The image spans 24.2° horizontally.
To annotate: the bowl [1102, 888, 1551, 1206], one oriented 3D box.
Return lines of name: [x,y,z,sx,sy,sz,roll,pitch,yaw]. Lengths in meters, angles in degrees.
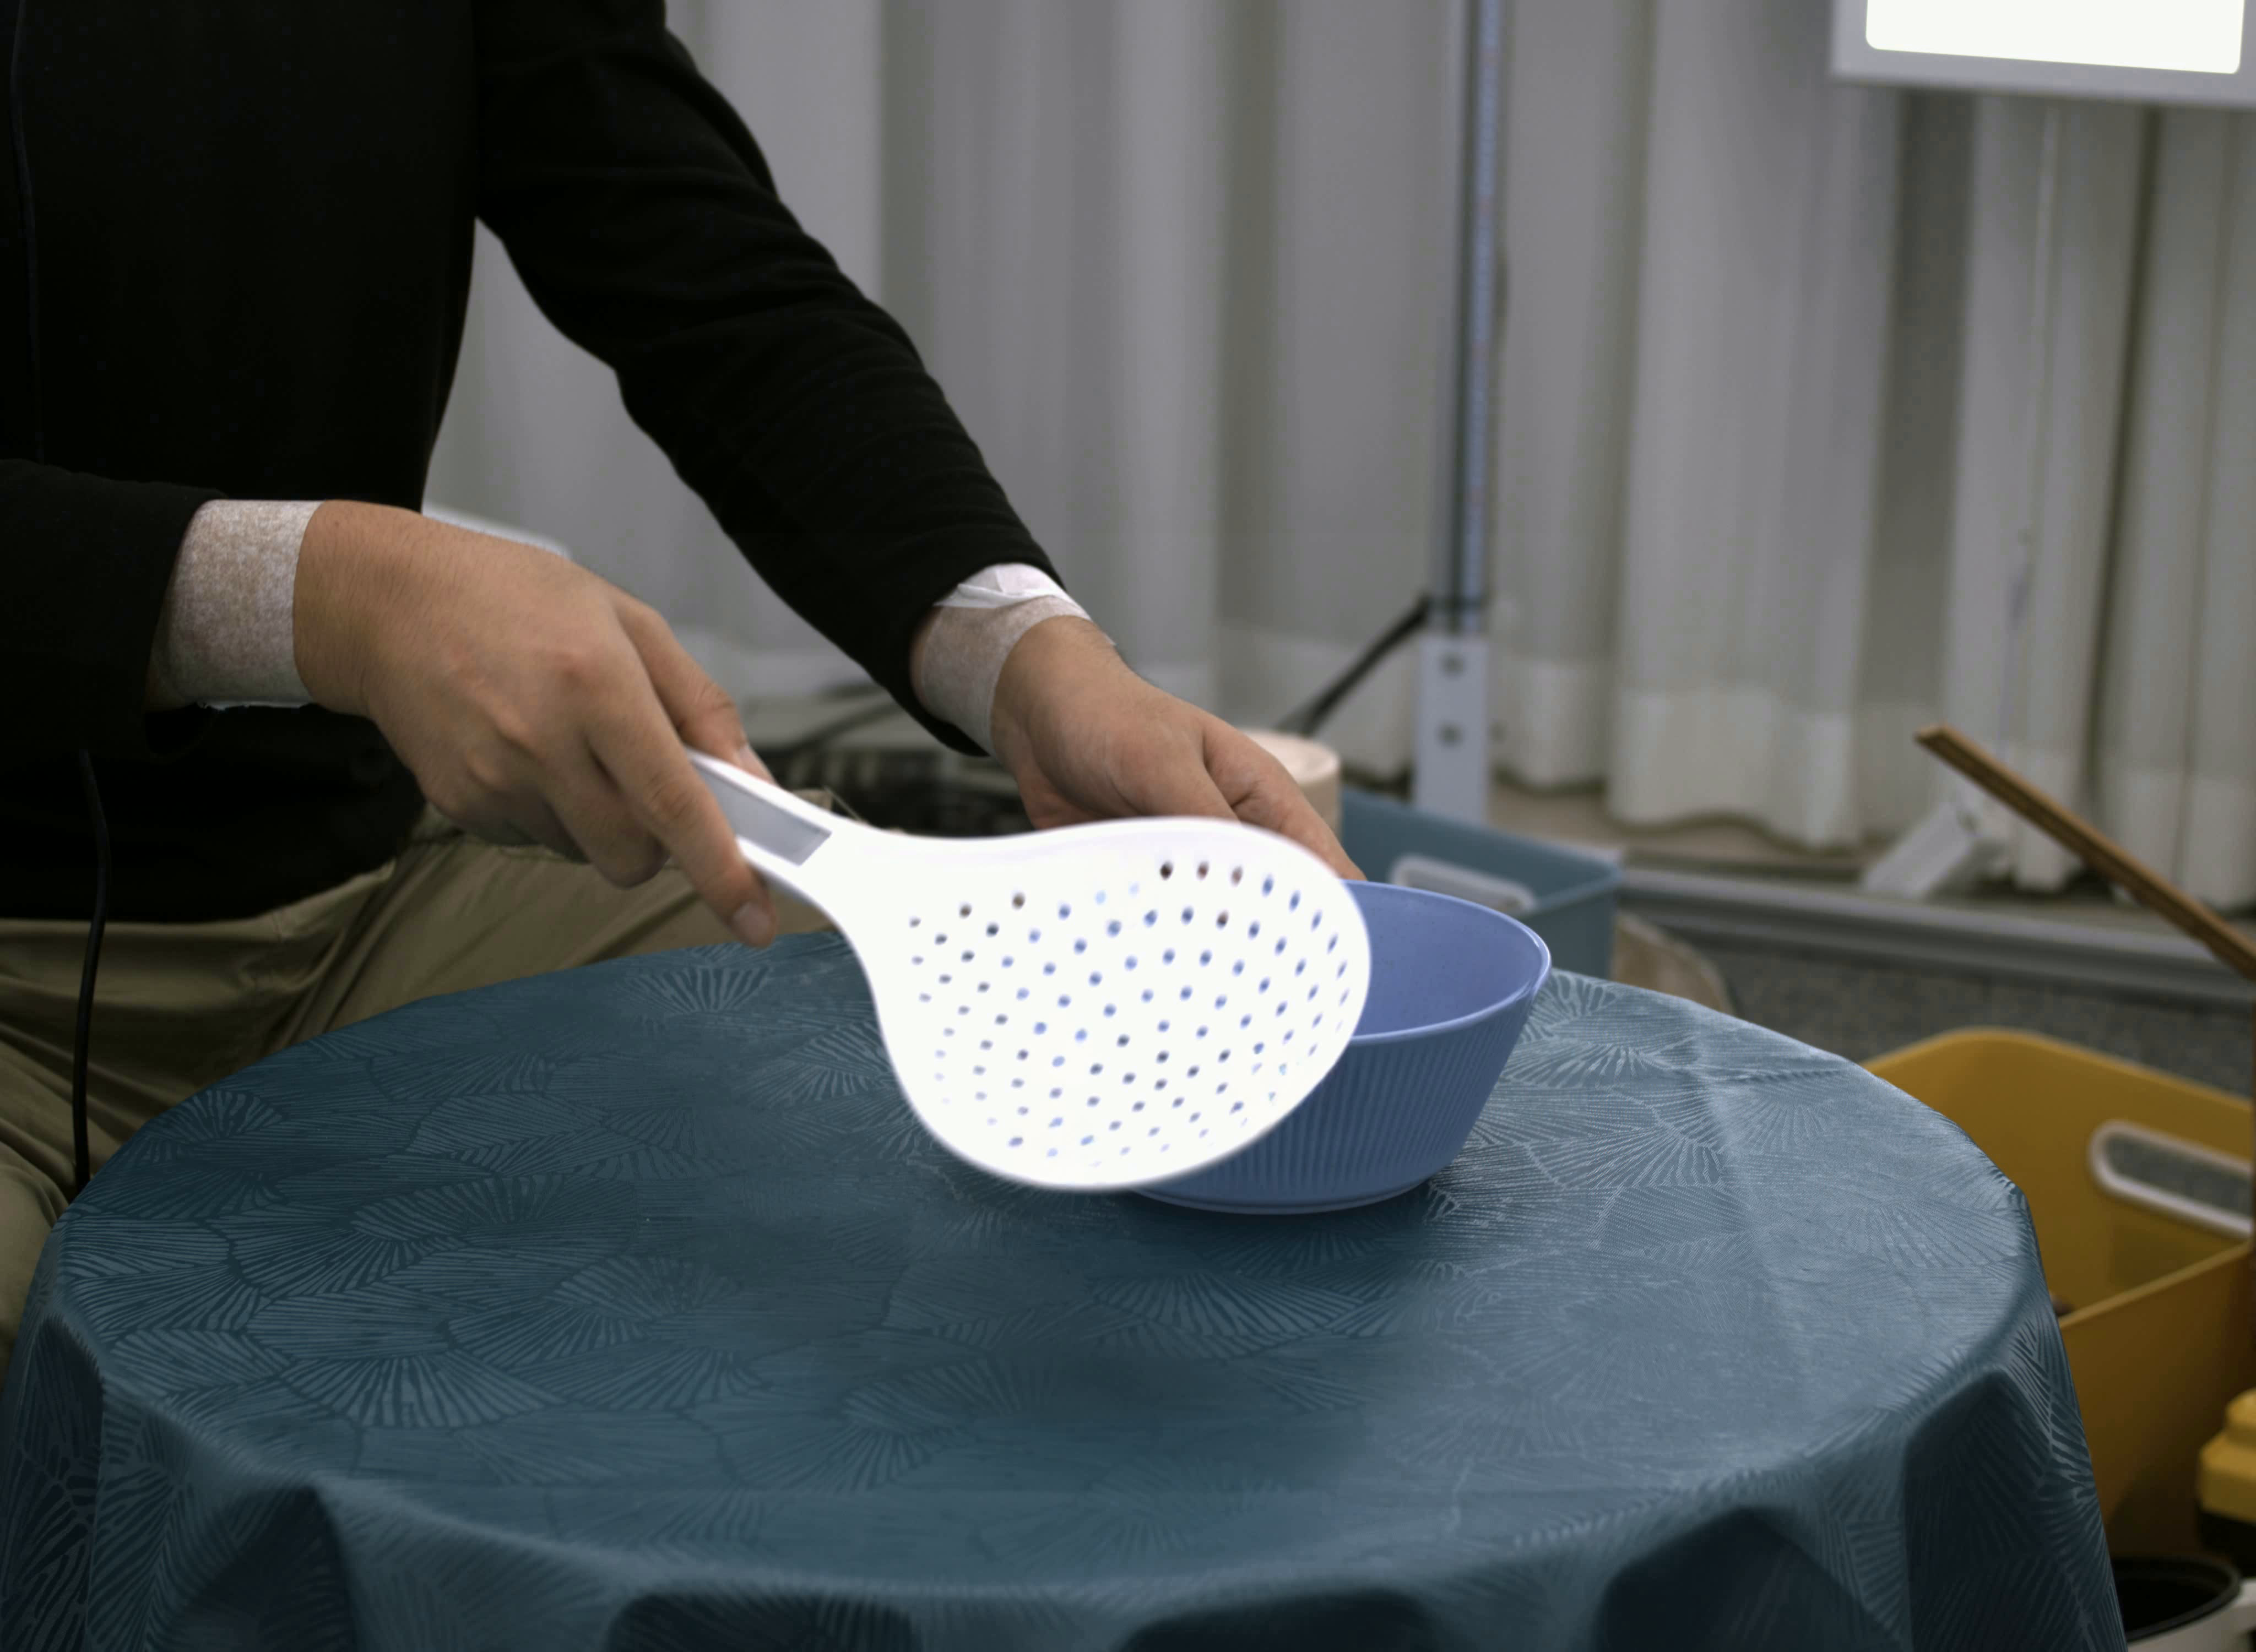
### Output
bowl: [0.043,0.070,1.641,0.175,0.071,0.175,1,14,0]

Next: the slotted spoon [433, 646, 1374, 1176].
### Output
slotted spoon: [-0.077,0.013,1.530,0.345,0.046,0.136,26,61,30]
